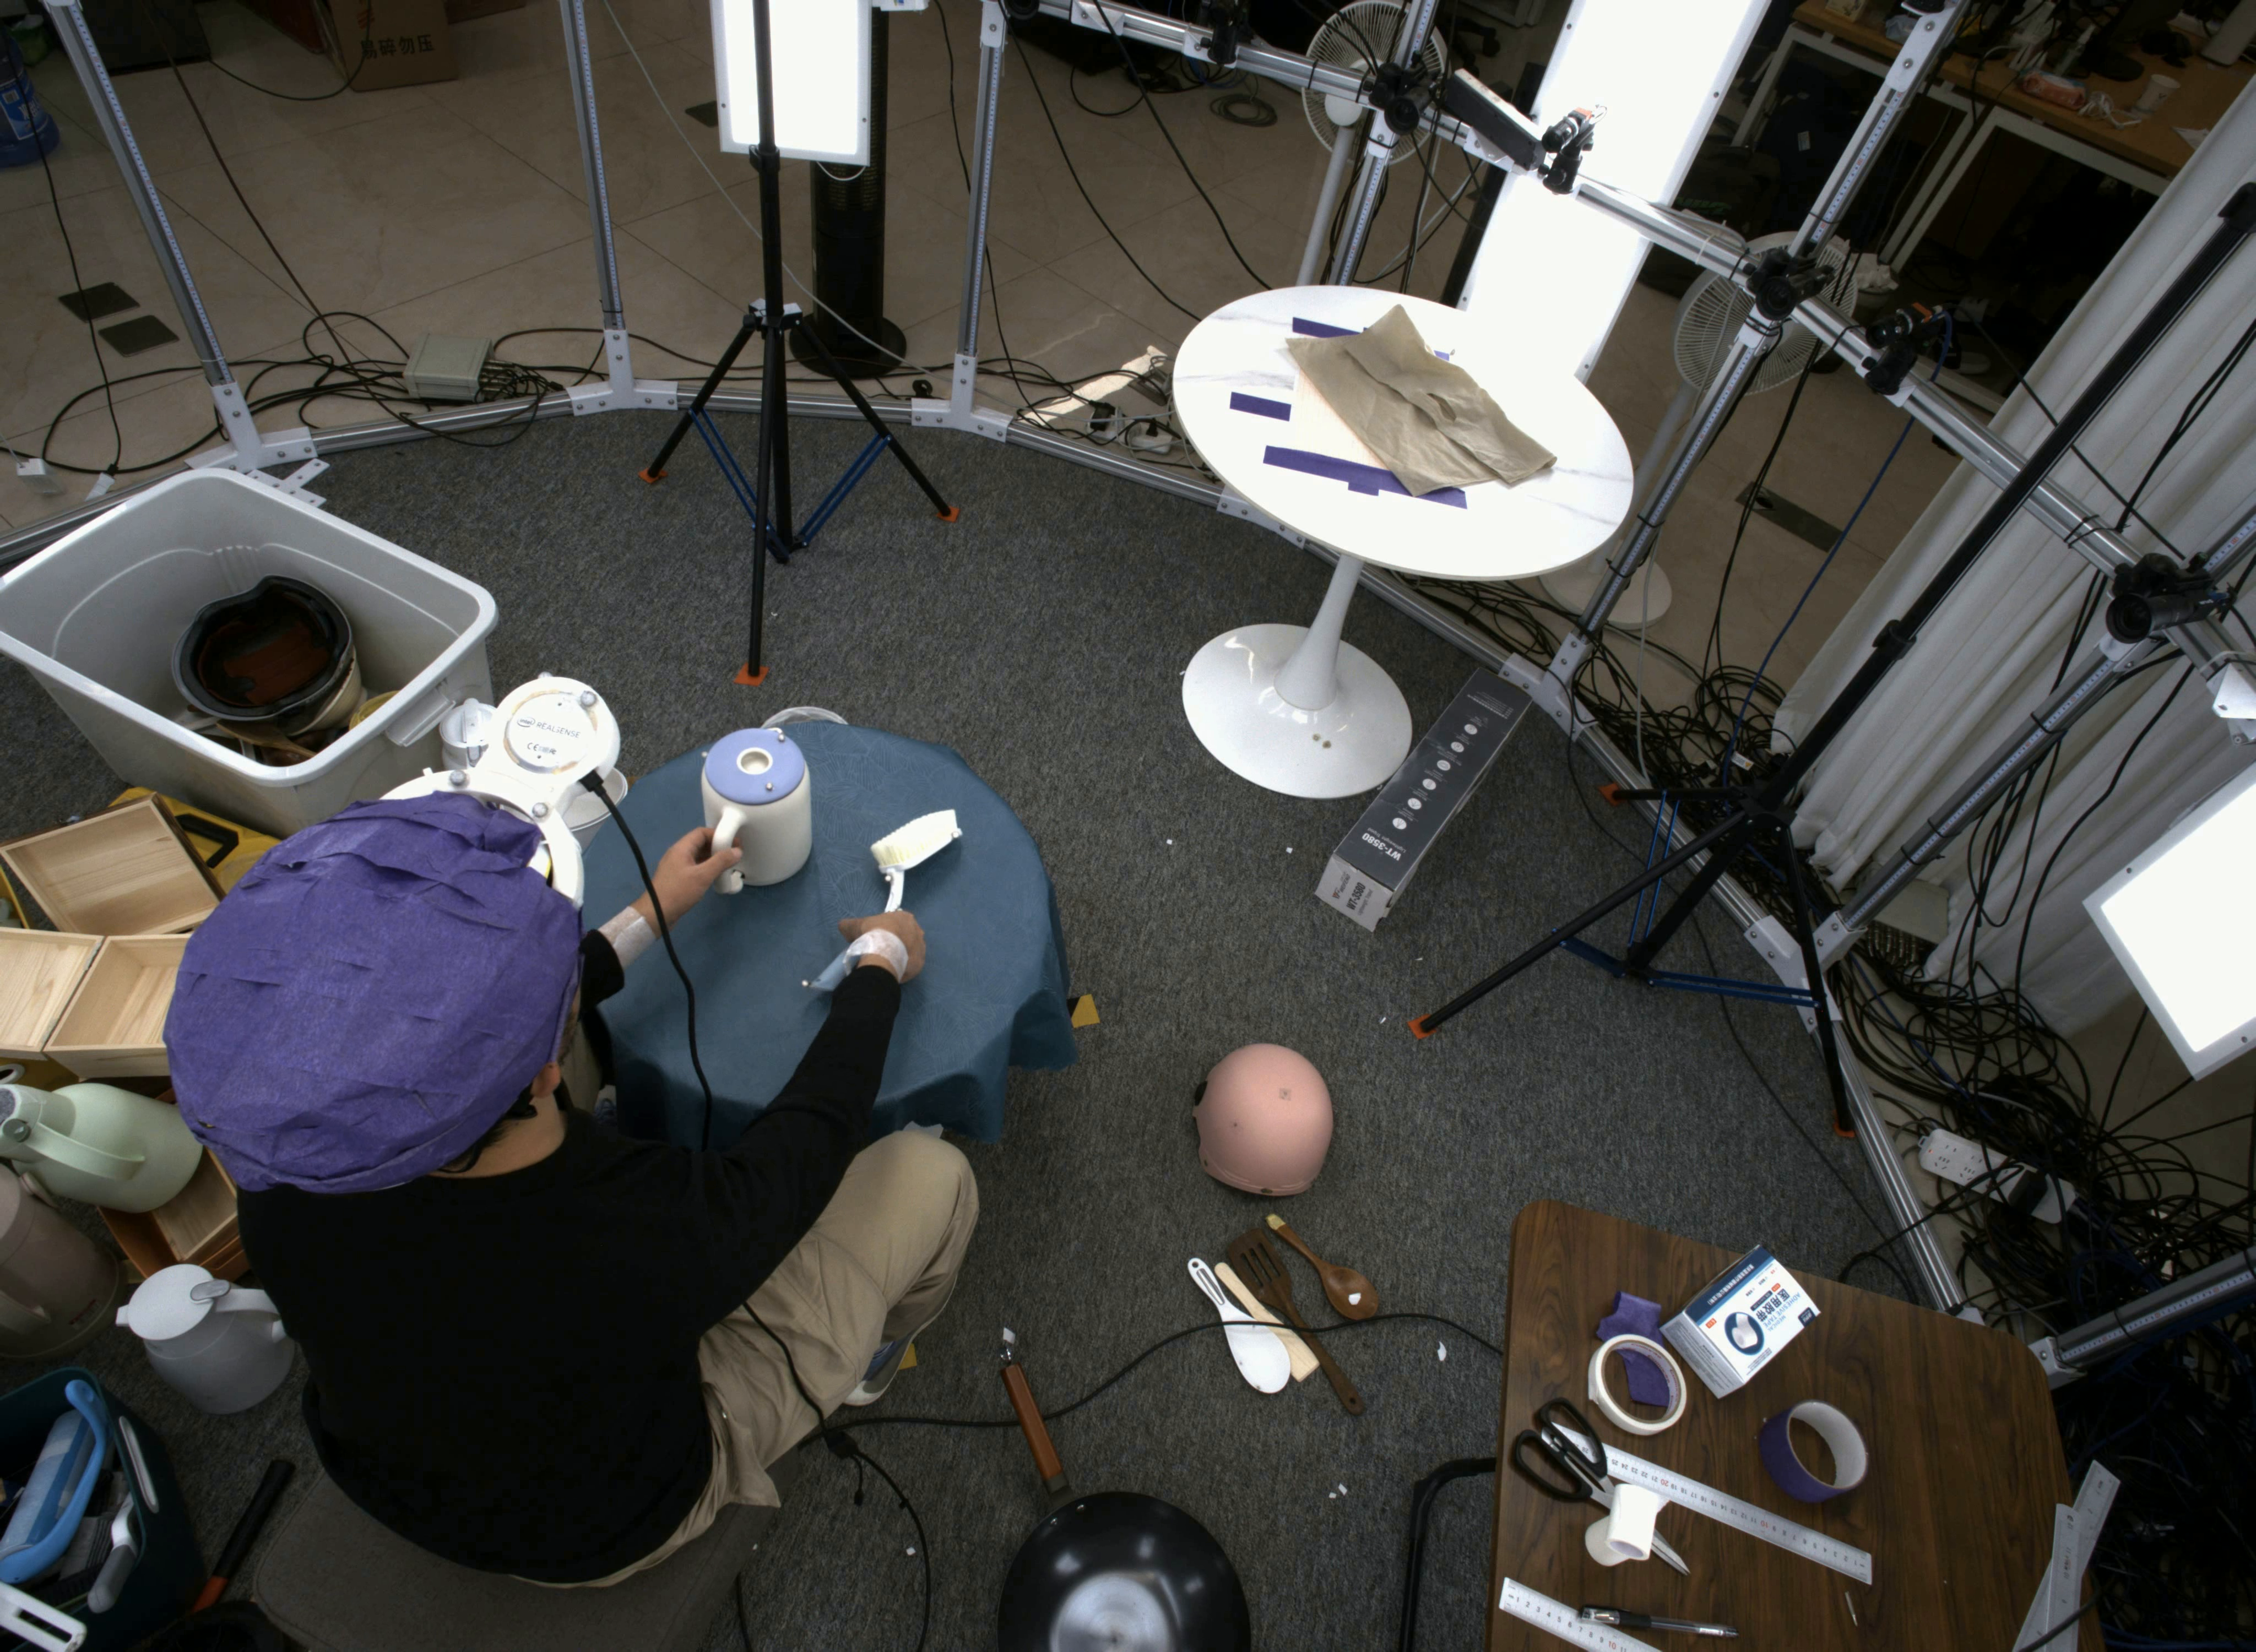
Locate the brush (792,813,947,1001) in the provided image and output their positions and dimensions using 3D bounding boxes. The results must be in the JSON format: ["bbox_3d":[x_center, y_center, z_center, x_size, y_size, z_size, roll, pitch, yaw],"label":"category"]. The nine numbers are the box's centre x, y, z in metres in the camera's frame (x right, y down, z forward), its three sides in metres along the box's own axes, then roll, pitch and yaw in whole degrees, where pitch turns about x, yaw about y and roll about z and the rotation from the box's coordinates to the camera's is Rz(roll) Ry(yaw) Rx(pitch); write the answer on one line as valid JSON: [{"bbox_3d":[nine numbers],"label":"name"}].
[{"bbox_3d":[-0.333,0.079,1.627,0.083,0.084,0.324,32,50,6],"label":"brush"}]

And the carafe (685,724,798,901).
[{"bbox_3d":[-0.485,-0.005,1.595,0.131,0.186,0.188,14,52,-1],"label":"carafe"}]
